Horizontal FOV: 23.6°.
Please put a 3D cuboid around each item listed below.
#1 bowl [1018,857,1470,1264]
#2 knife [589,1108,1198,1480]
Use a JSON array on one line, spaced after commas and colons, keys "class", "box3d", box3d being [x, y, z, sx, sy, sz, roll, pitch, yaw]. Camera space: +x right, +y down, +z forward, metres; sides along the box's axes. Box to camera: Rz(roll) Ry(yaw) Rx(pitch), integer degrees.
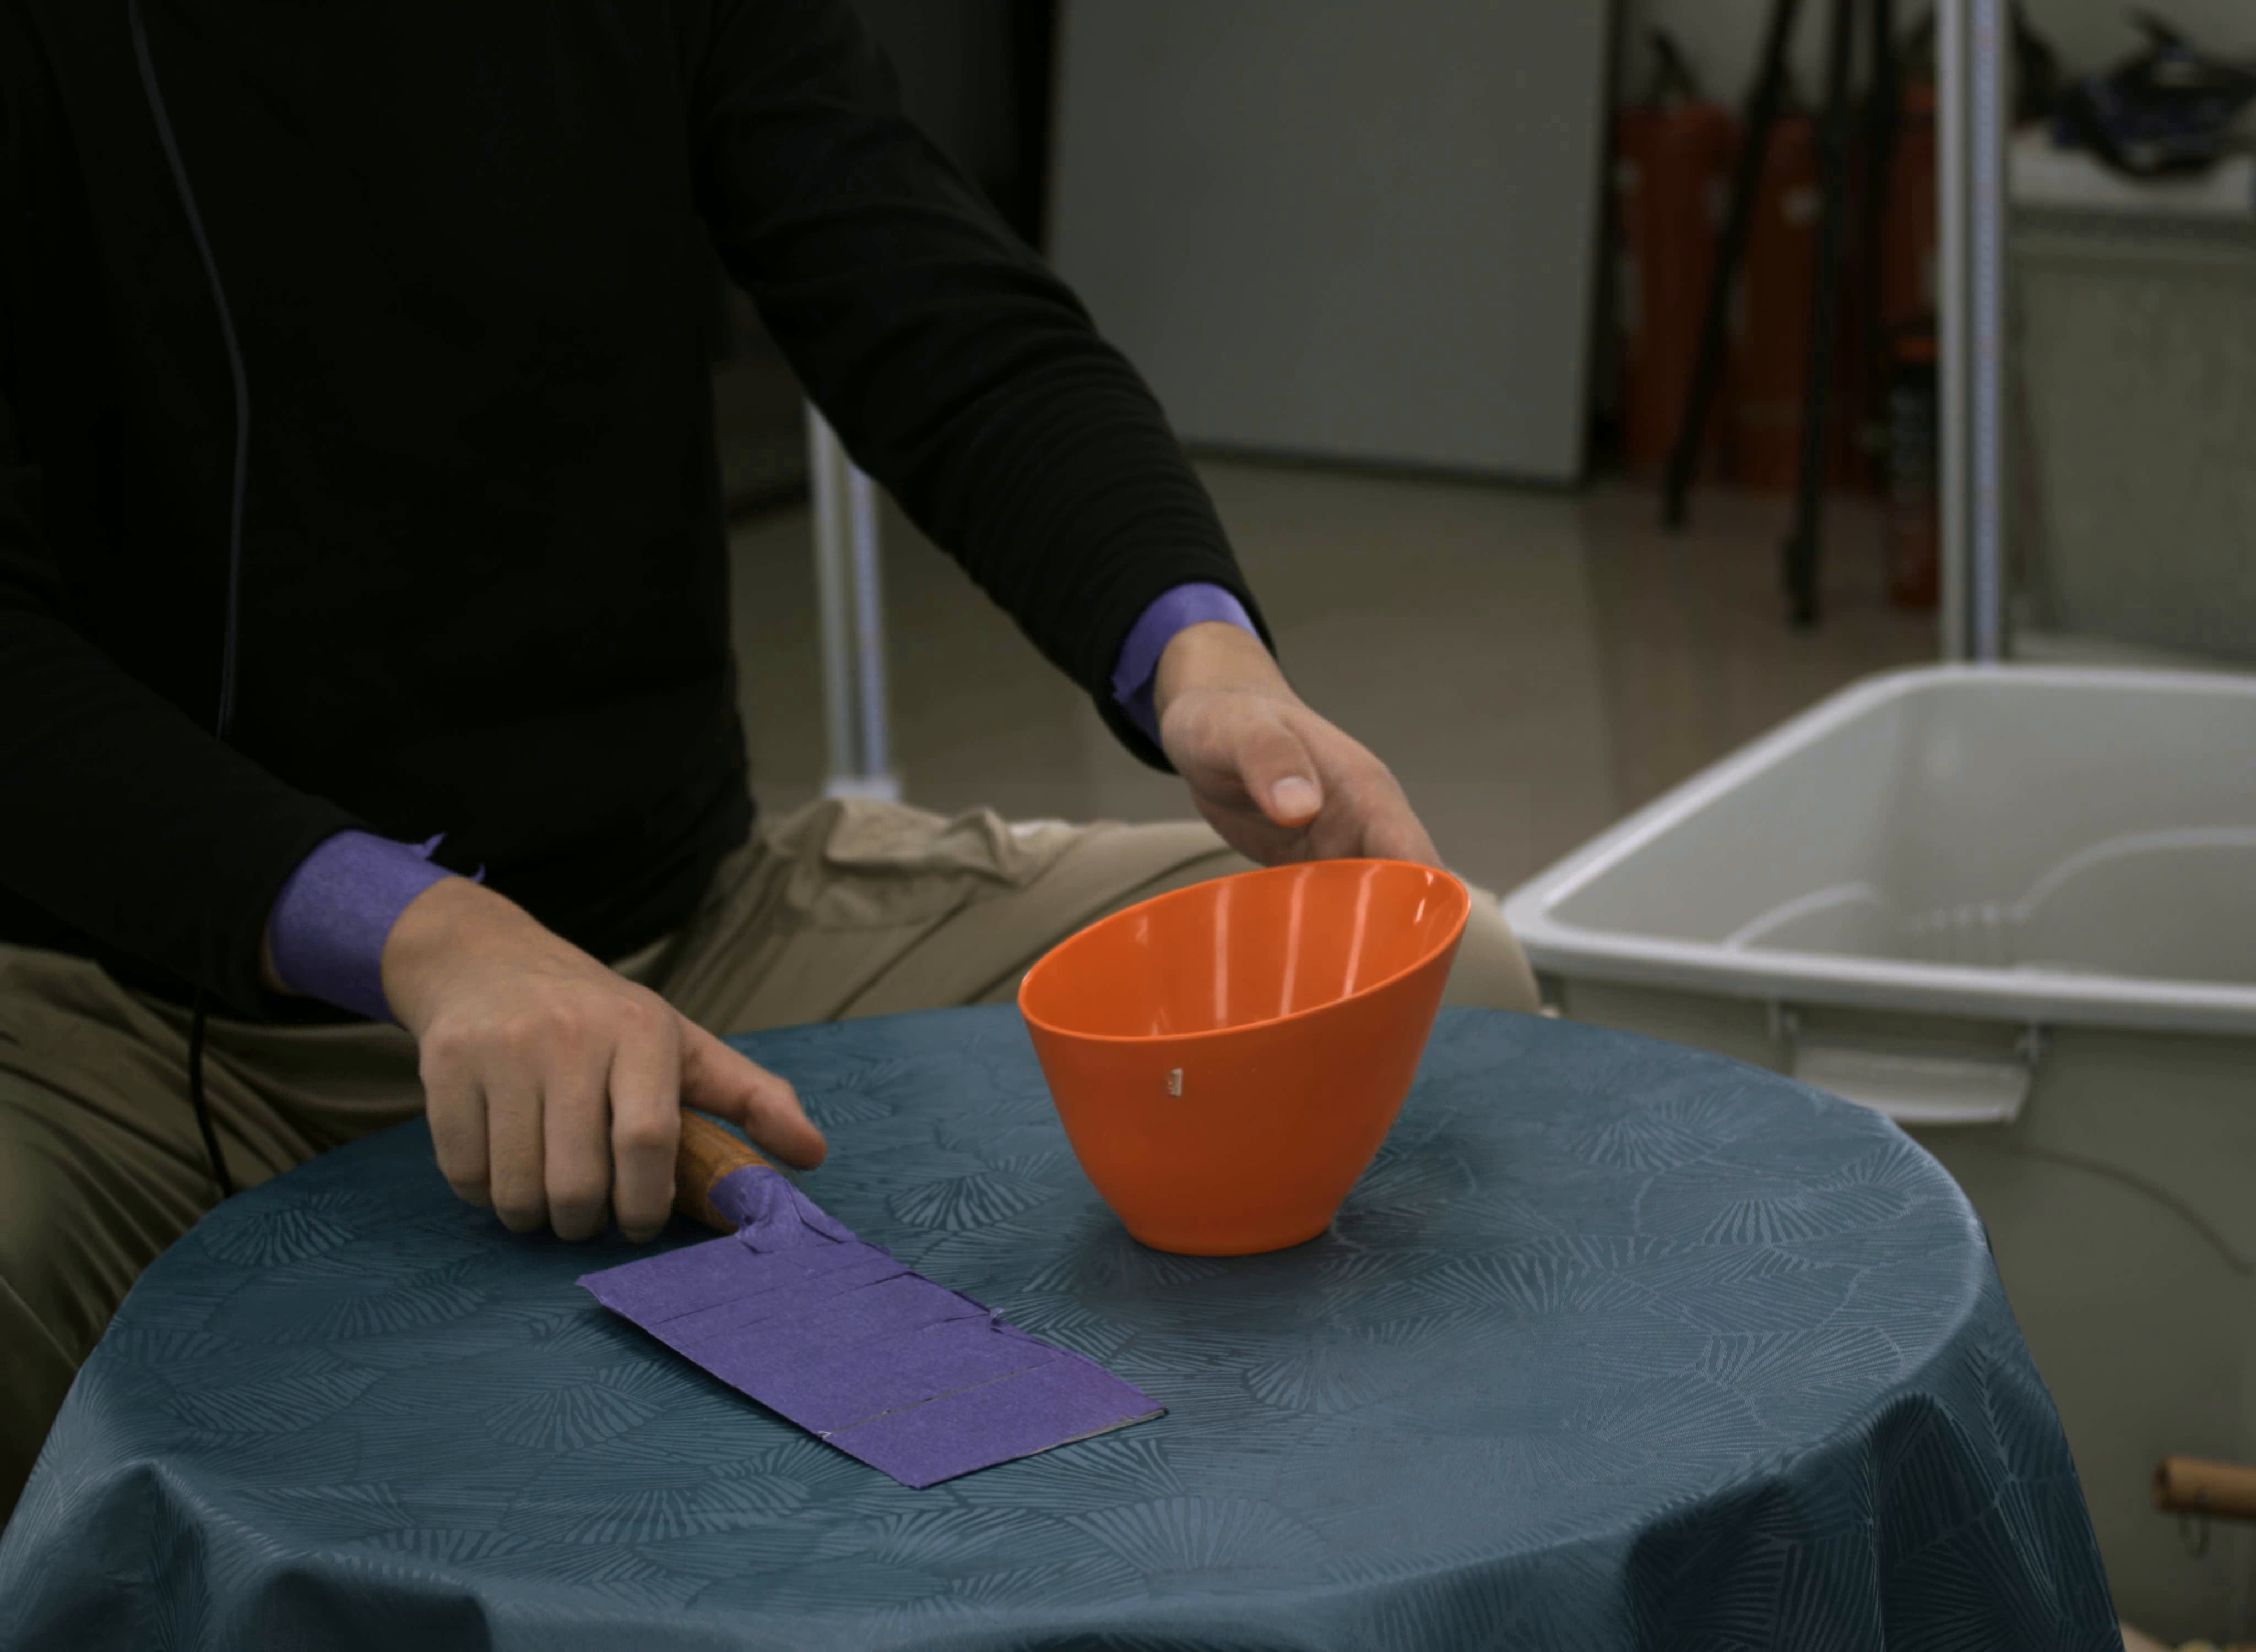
[{"class": "bowl", "box3d": [0.040, 0.078, 1.725, 0.146, 0.106, 0.148, -4, 15, 0]}, {"class": "knife", "box3d": [-0.106, 0.141, 1.670, 0.101, 0.032, 0.318, -12, 17, -31]}]
